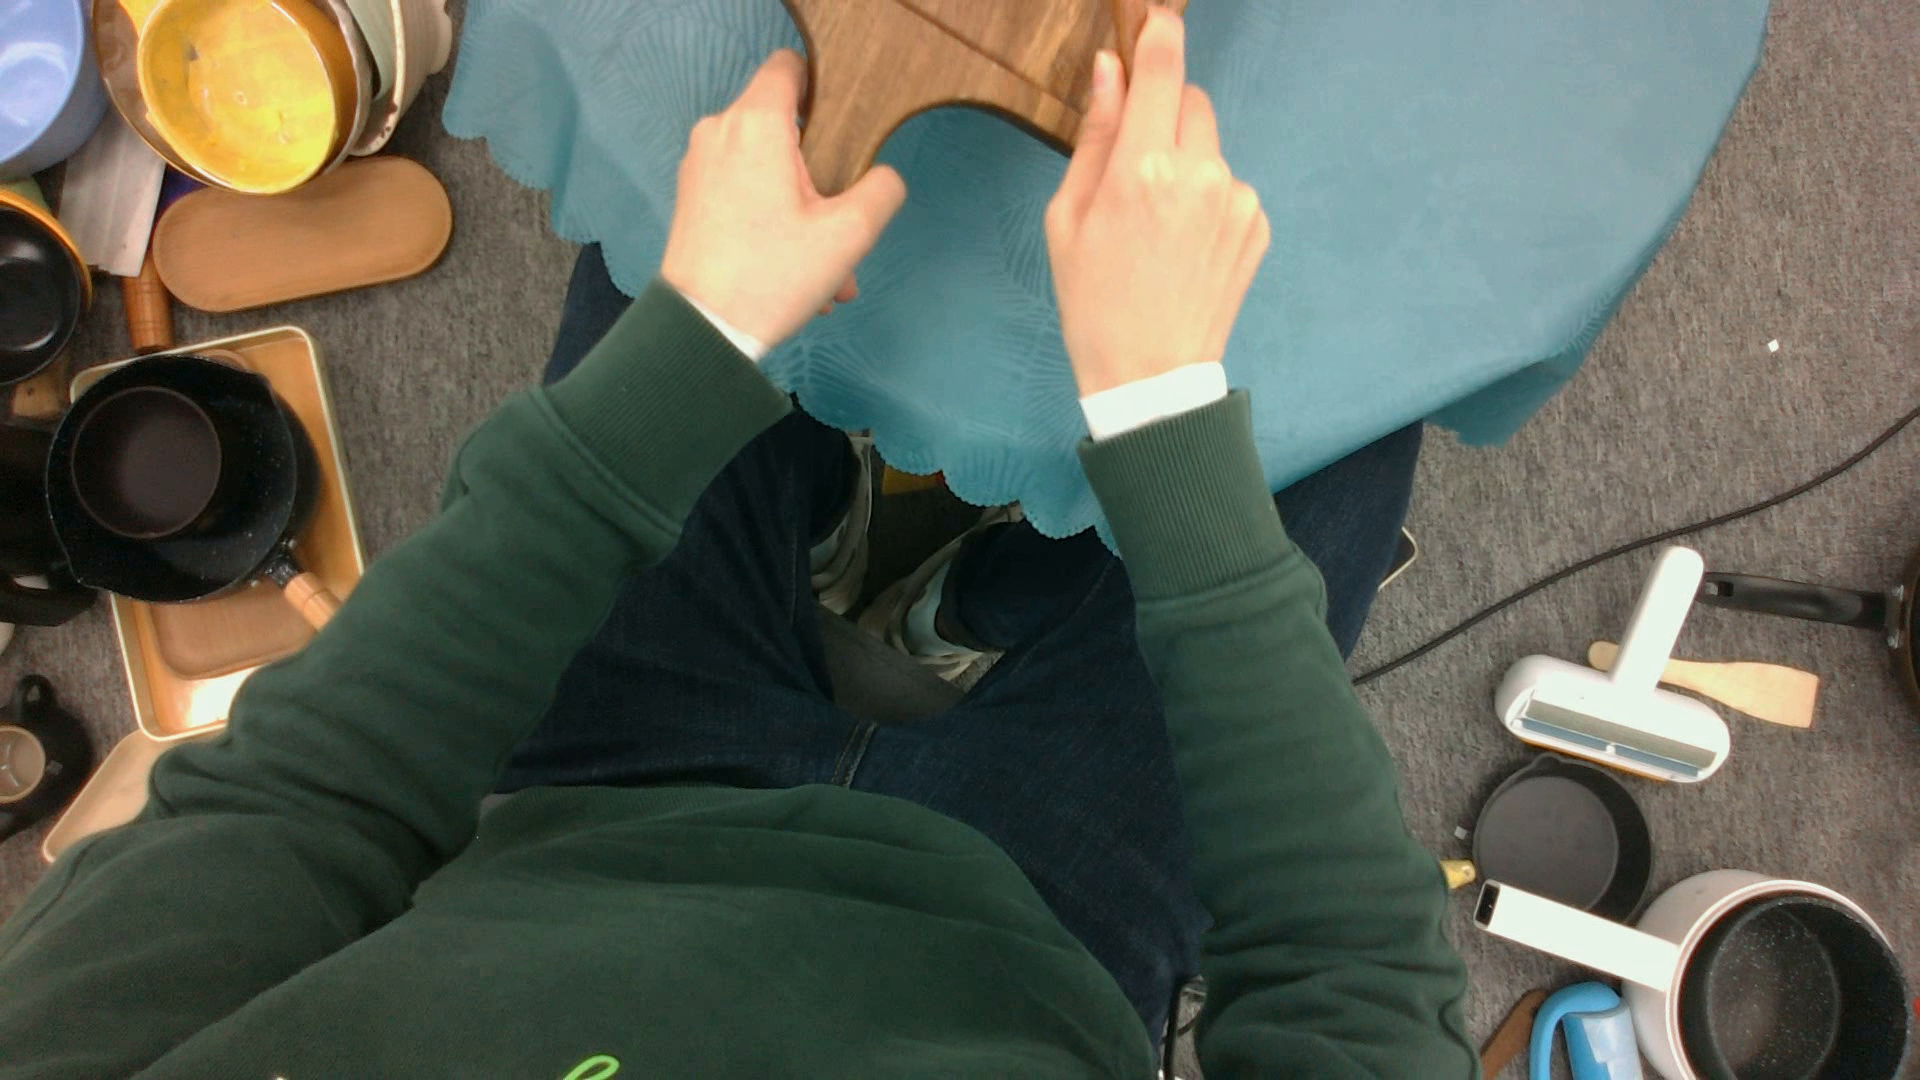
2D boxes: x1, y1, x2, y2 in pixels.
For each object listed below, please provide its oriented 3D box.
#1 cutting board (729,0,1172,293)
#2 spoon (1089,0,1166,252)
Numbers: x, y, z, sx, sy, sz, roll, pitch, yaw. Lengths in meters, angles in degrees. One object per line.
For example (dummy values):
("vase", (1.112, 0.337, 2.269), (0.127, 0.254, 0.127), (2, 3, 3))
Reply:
("cutting board", (-0.002, -0.255, 0.509), (0.201, 0.023, 0.352), (24, 94, -22))
("spoon", (0.050, -0.209, 0.480), (0.017, 0.075, 0.215), (-11, 97, -20))
